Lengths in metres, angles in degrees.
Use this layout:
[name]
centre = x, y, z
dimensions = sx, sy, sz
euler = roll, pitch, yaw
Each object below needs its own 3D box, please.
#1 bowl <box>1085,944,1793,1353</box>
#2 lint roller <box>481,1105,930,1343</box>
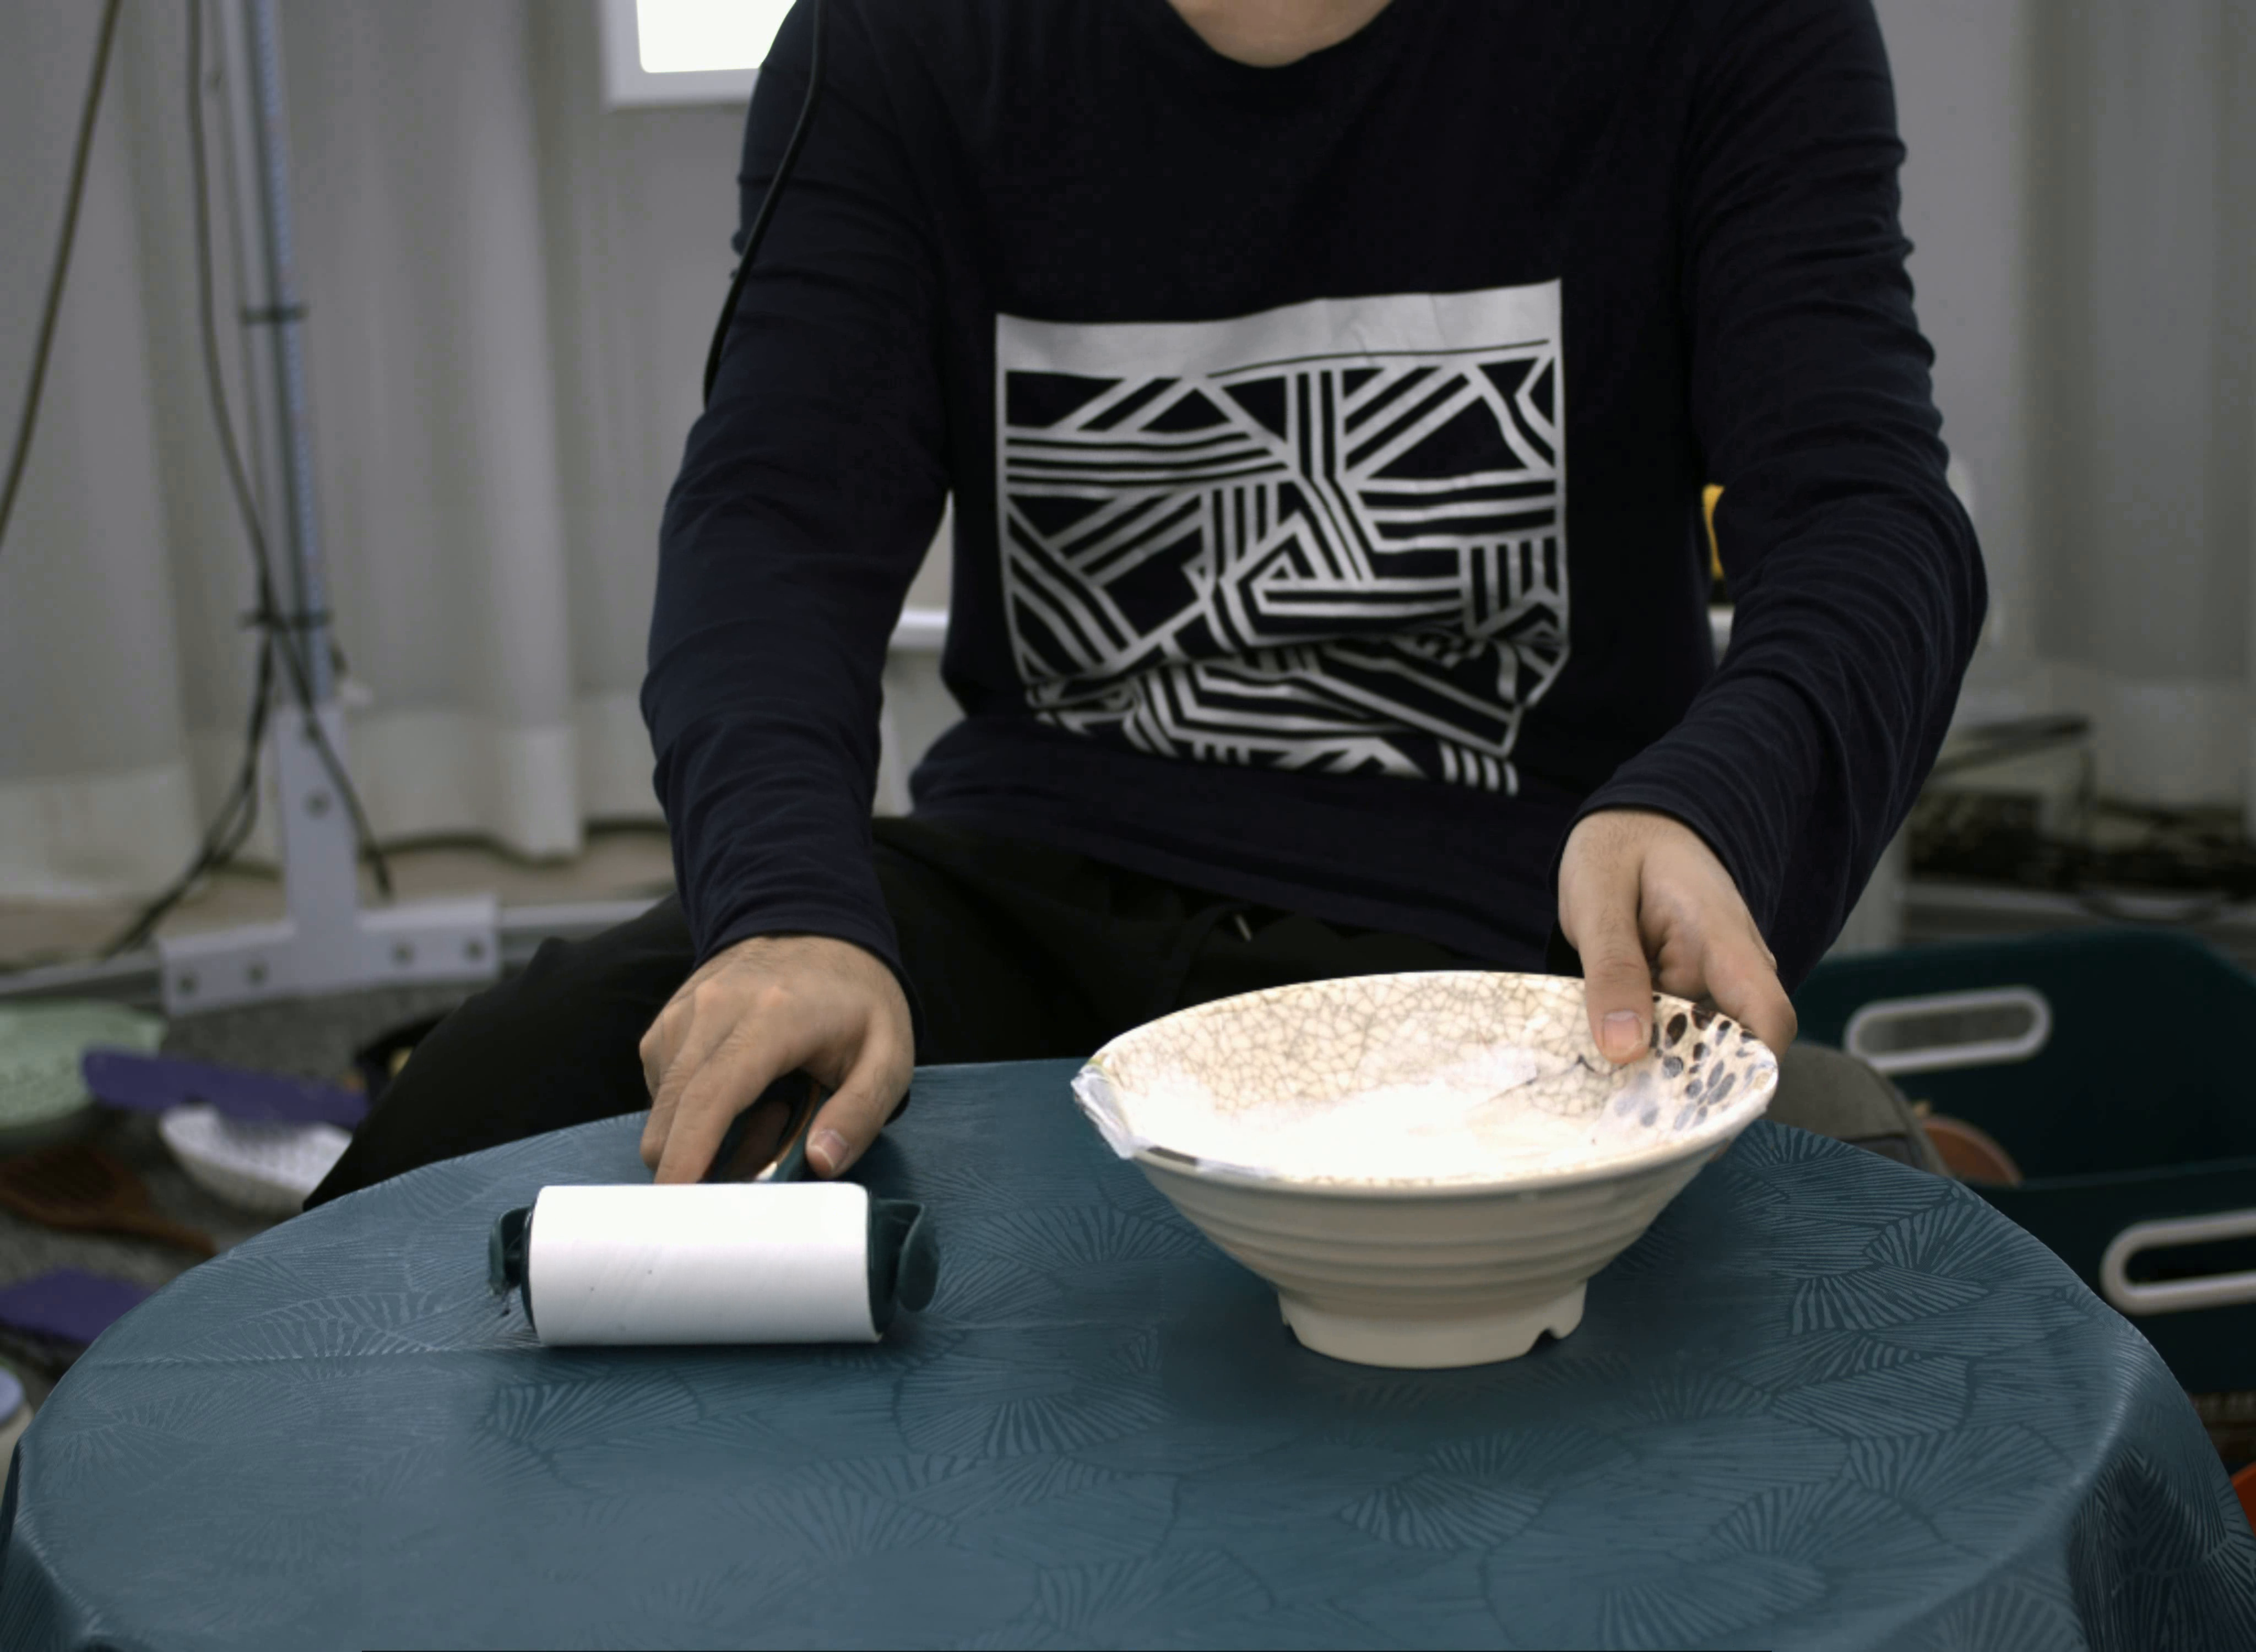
[bowl]
centre = 0.088, 0.101, 1.579
dimensions = 0.203, 0.077, 0.205
euler = 1, 16, 0
[lint roller]
centre = -0.118, 0.104, 1.661
dimensions = 0.134, 0.048, 0.181
euler = -2, 20, 5
